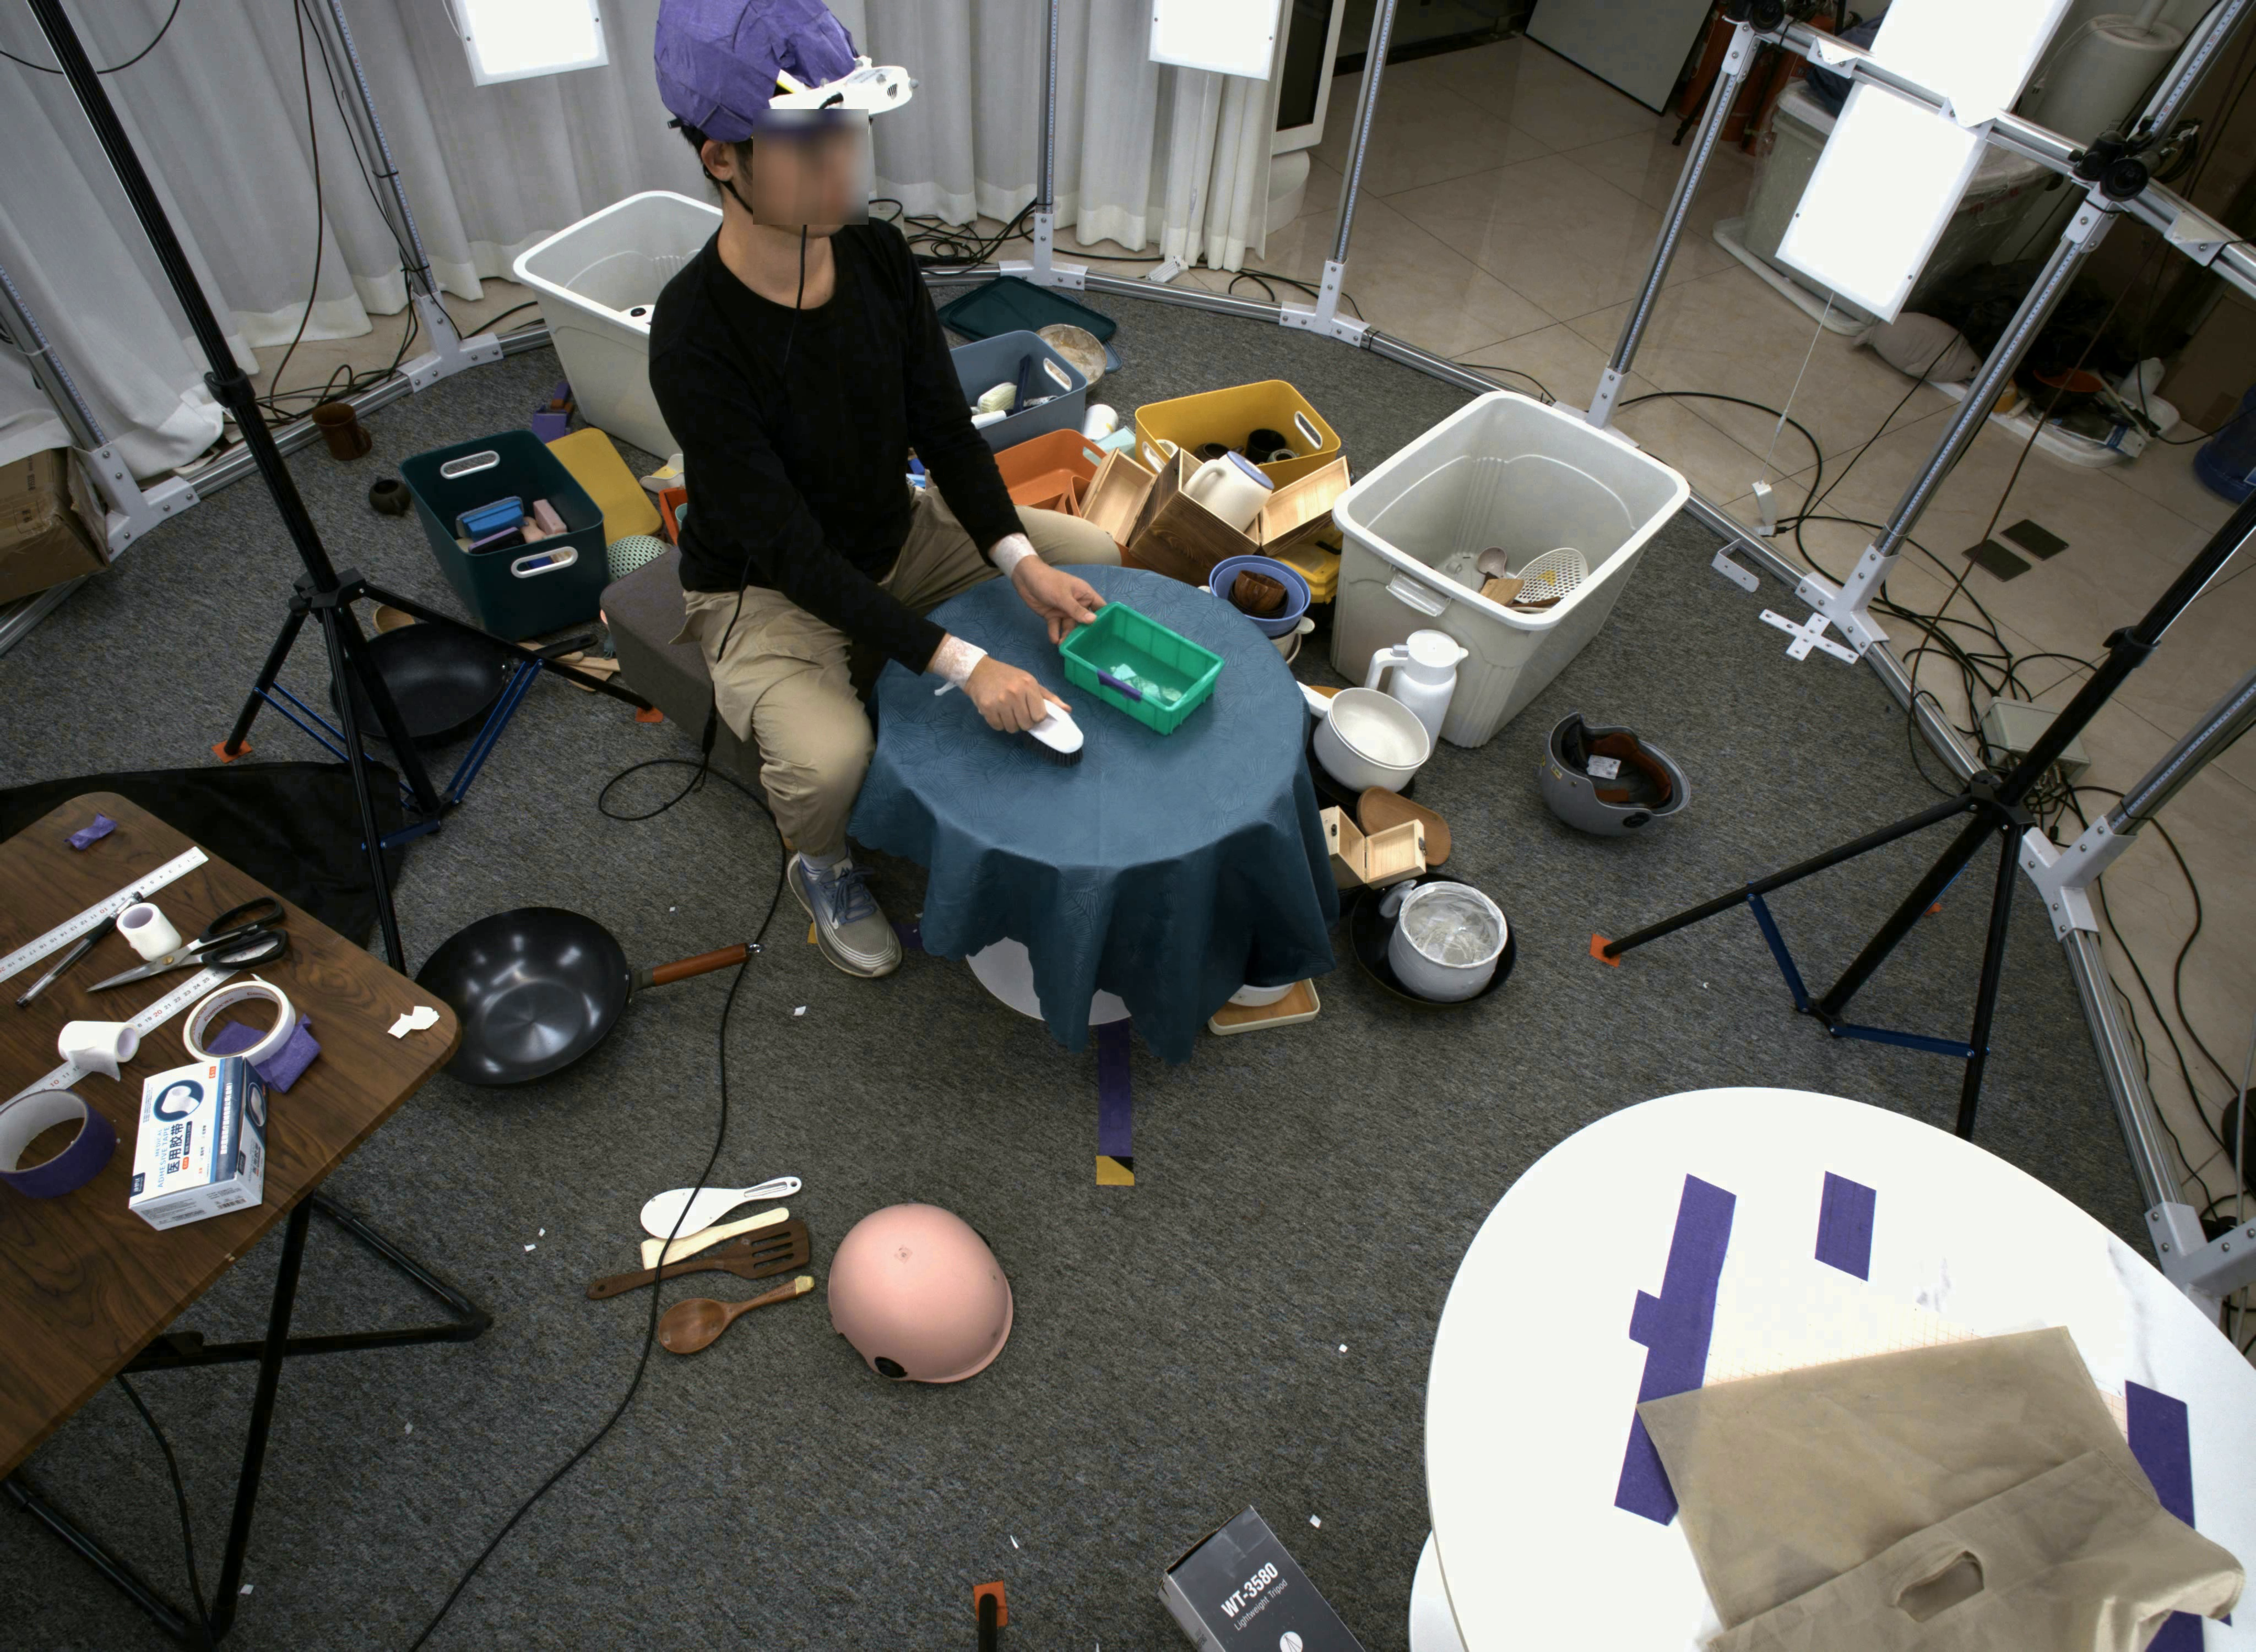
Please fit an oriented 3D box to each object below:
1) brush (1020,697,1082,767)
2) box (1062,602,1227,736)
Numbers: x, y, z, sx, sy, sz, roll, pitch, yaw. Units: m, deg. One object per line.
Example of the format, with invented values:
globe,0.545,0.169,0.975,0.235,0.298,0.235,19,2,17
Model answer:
brush,-0.105,-0.134,1.732,0.100,0.071,0.051,37,57,25
box,0.021,-0.221,1.823,0.212,0.064,0.140,31,56,20
